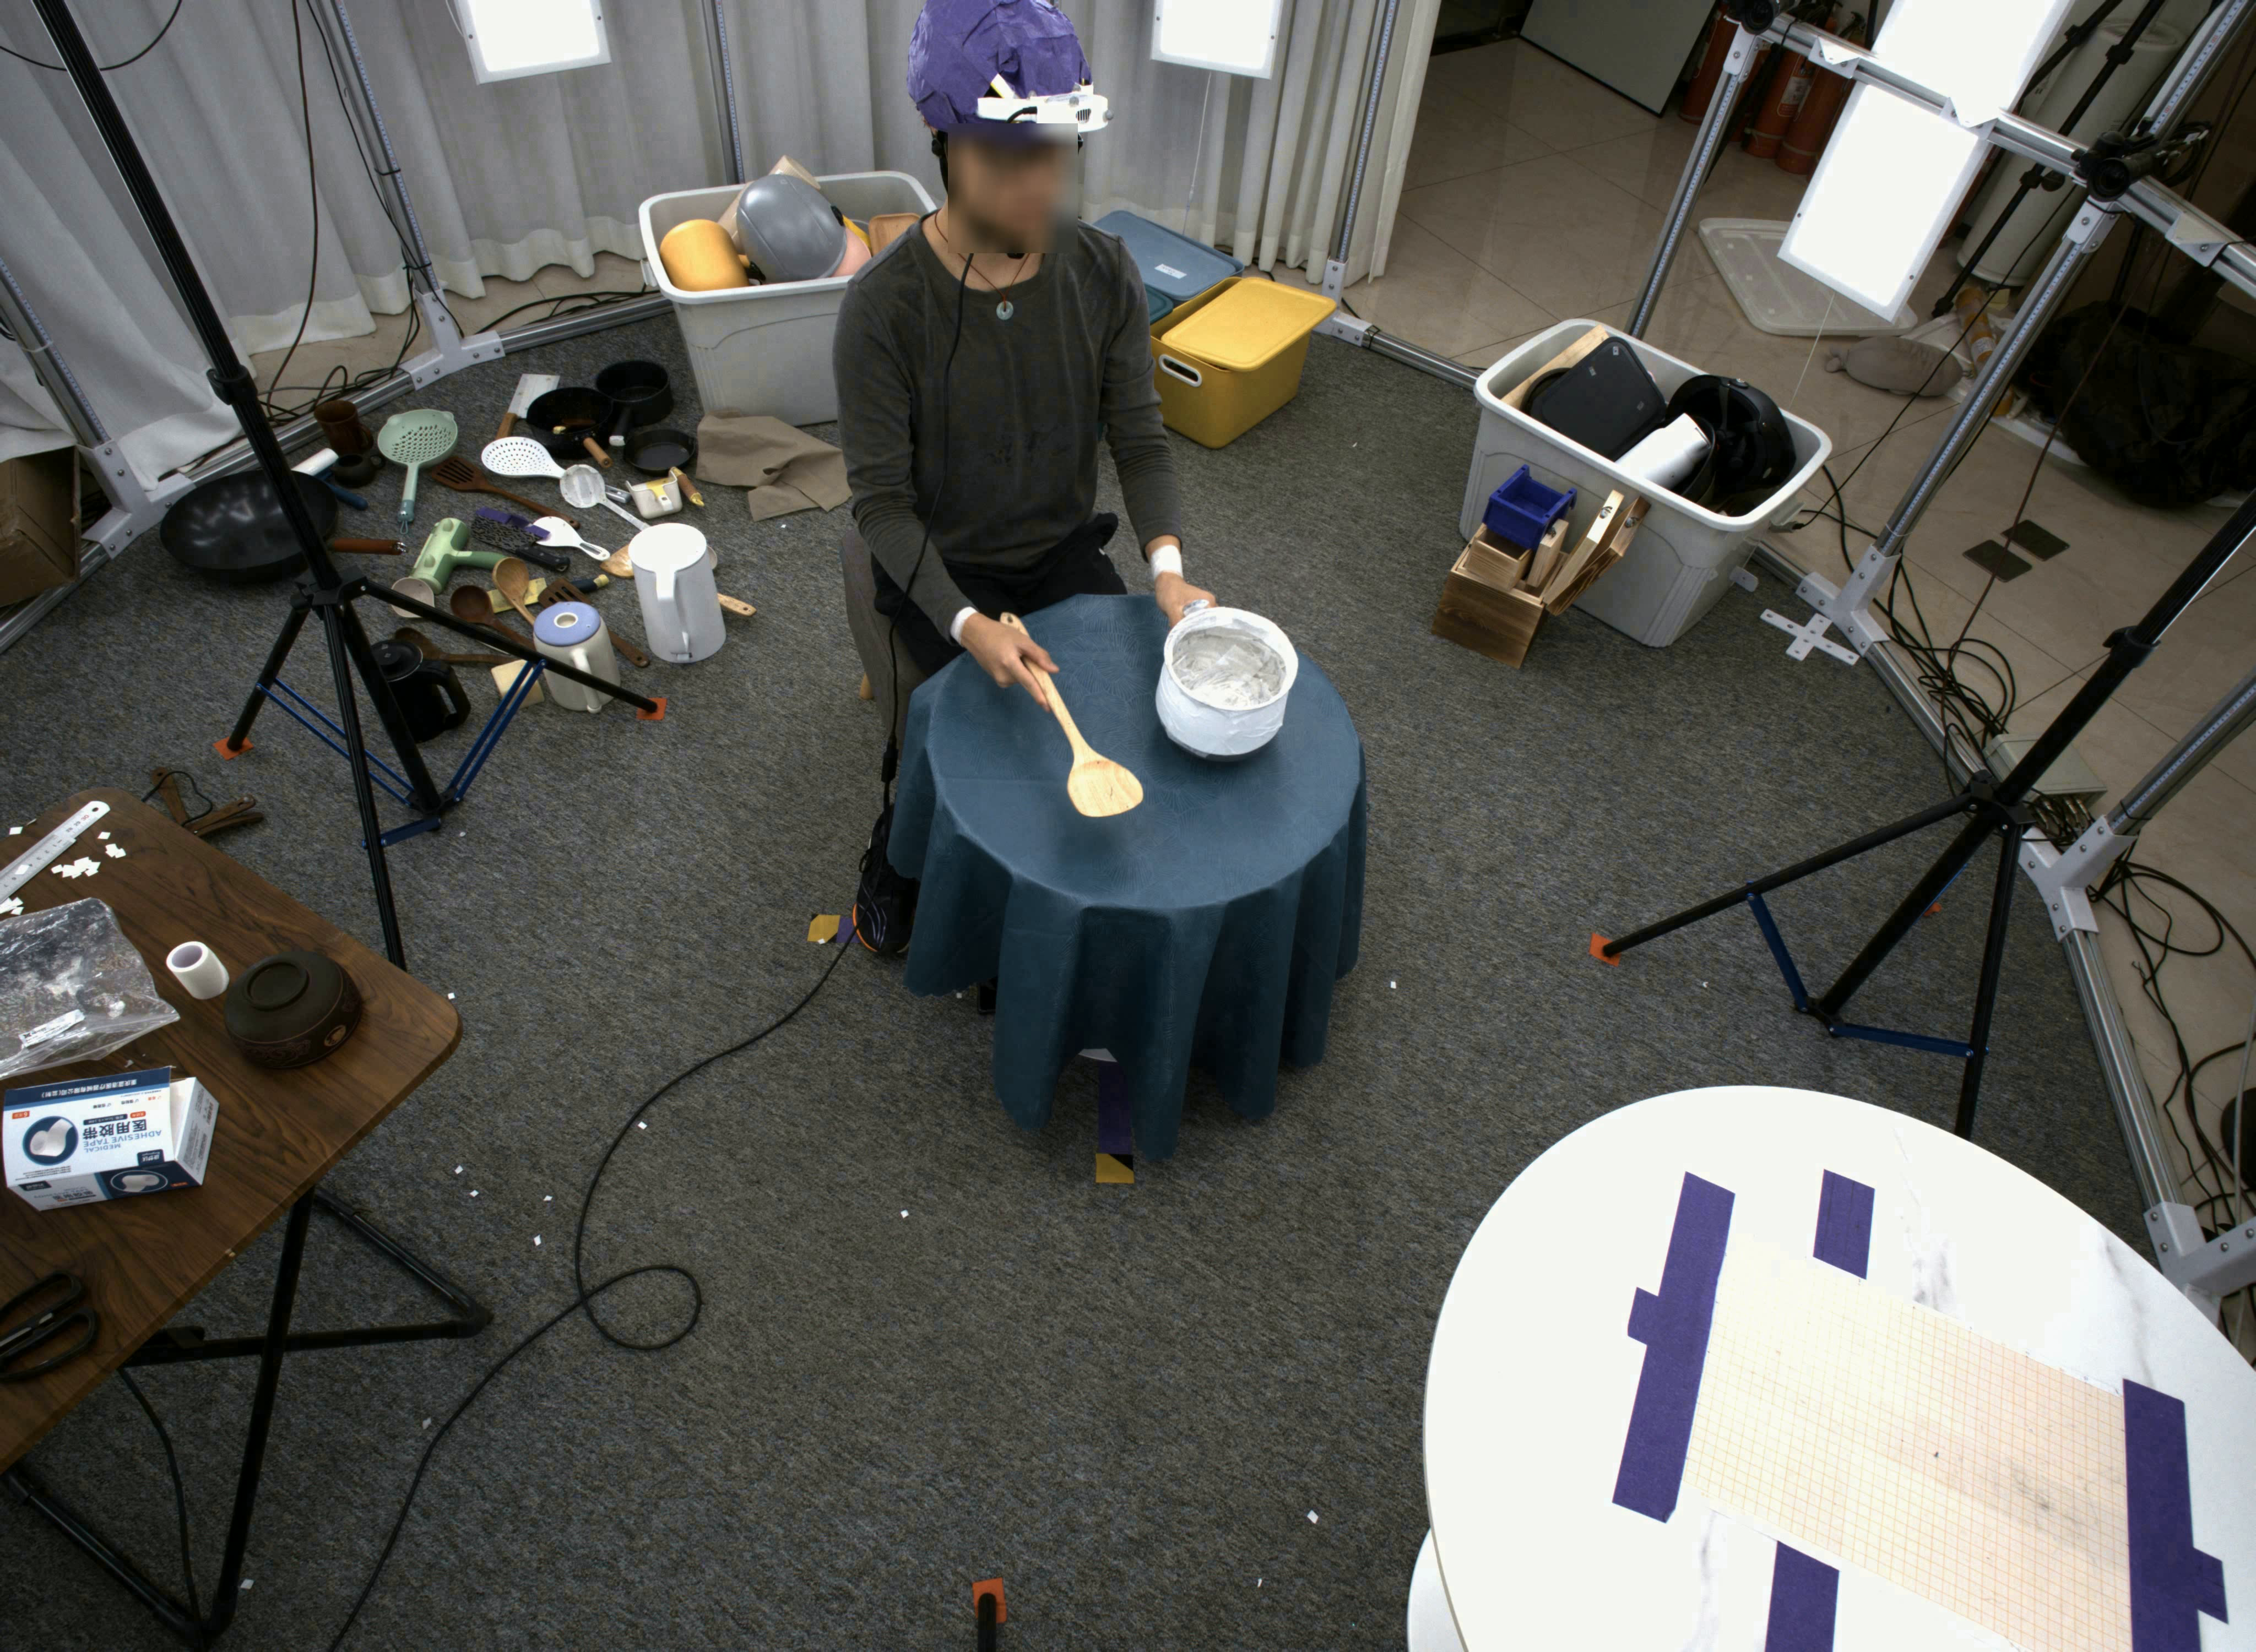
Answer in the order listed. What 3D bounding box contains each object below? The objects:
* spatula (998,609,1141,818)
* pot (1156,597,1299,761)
[{"bbox_3d":[-0.097,-0.156,1.683,0.096,0.018,0.399,-16,55,-19],"label":"spatula"},{"bbox_3d":[0.119,-0.209,1.739,0.179,0.133,0.239,-14,59,-16],"label":"pot"}]
